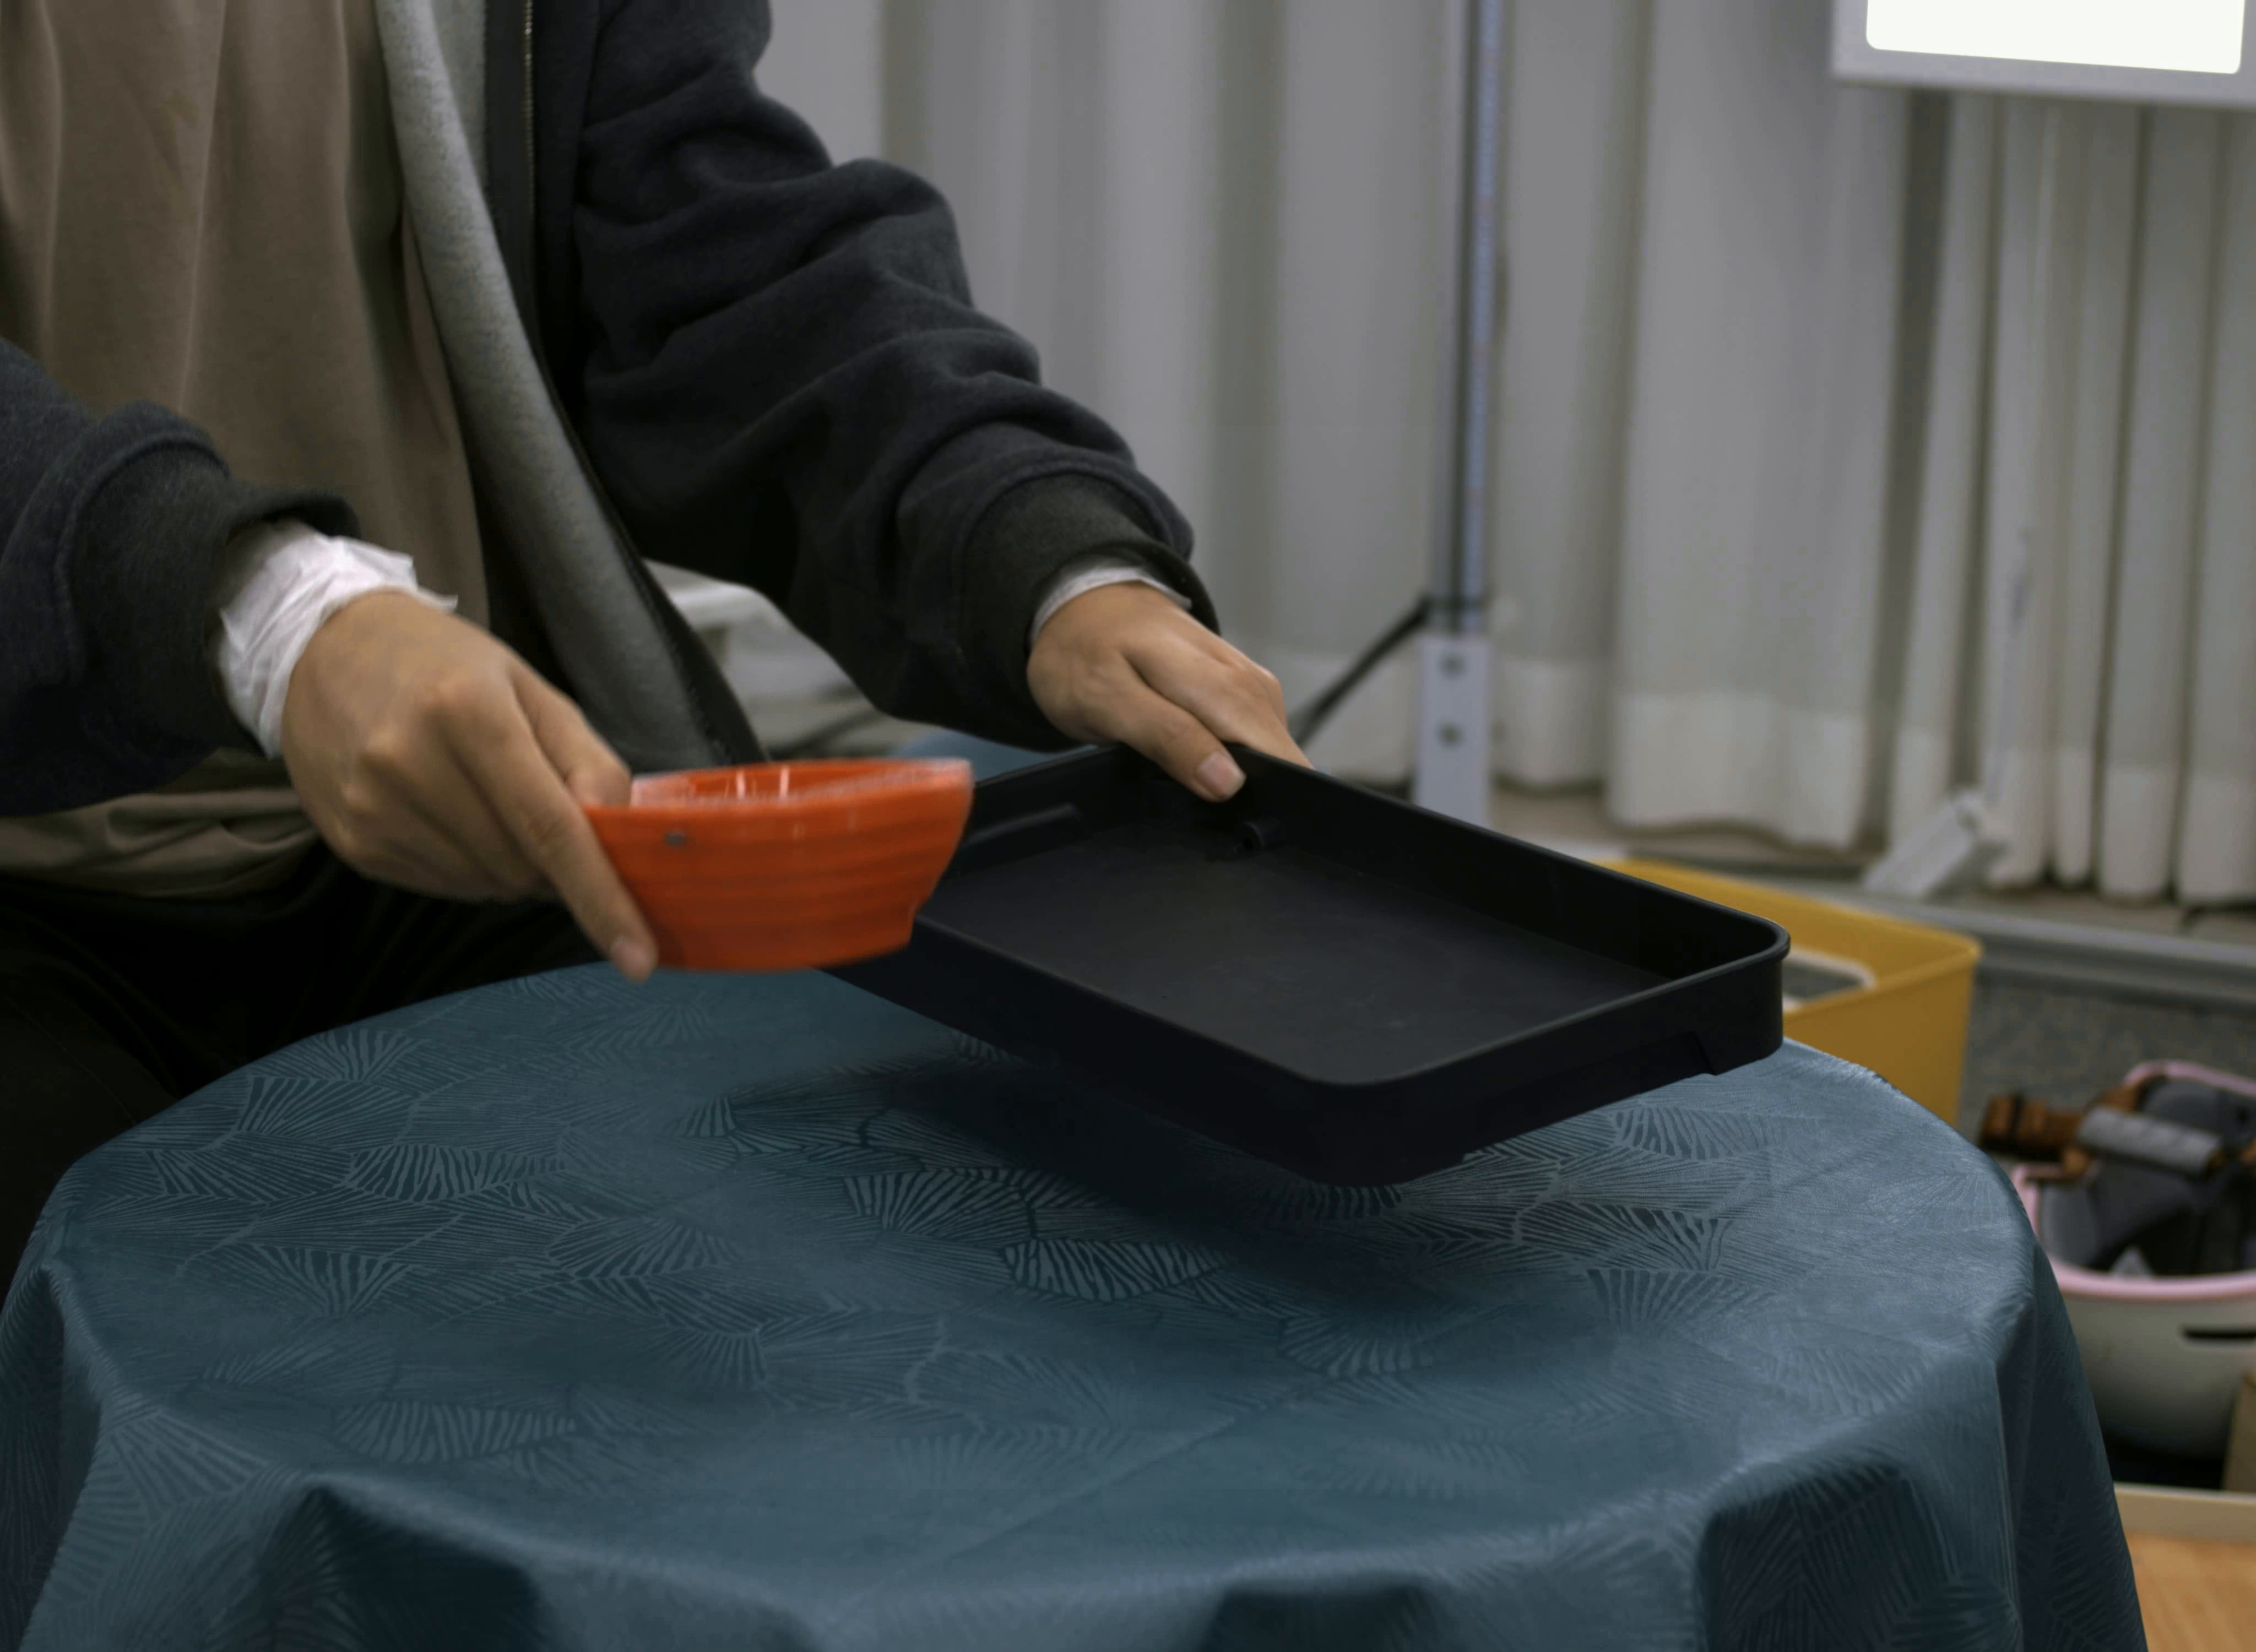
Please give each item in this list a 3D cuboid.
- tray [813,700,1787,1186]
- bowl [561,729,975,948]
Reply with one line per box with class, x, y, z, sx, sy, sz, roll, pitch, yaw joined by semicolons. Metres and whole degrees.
tray;0.039;0.030;1.645;0.185;0.037;0.313;-15;24;-35
bowl;-0.101;0.004;1.505;0.118;0.051;0.118;-3;8;1
